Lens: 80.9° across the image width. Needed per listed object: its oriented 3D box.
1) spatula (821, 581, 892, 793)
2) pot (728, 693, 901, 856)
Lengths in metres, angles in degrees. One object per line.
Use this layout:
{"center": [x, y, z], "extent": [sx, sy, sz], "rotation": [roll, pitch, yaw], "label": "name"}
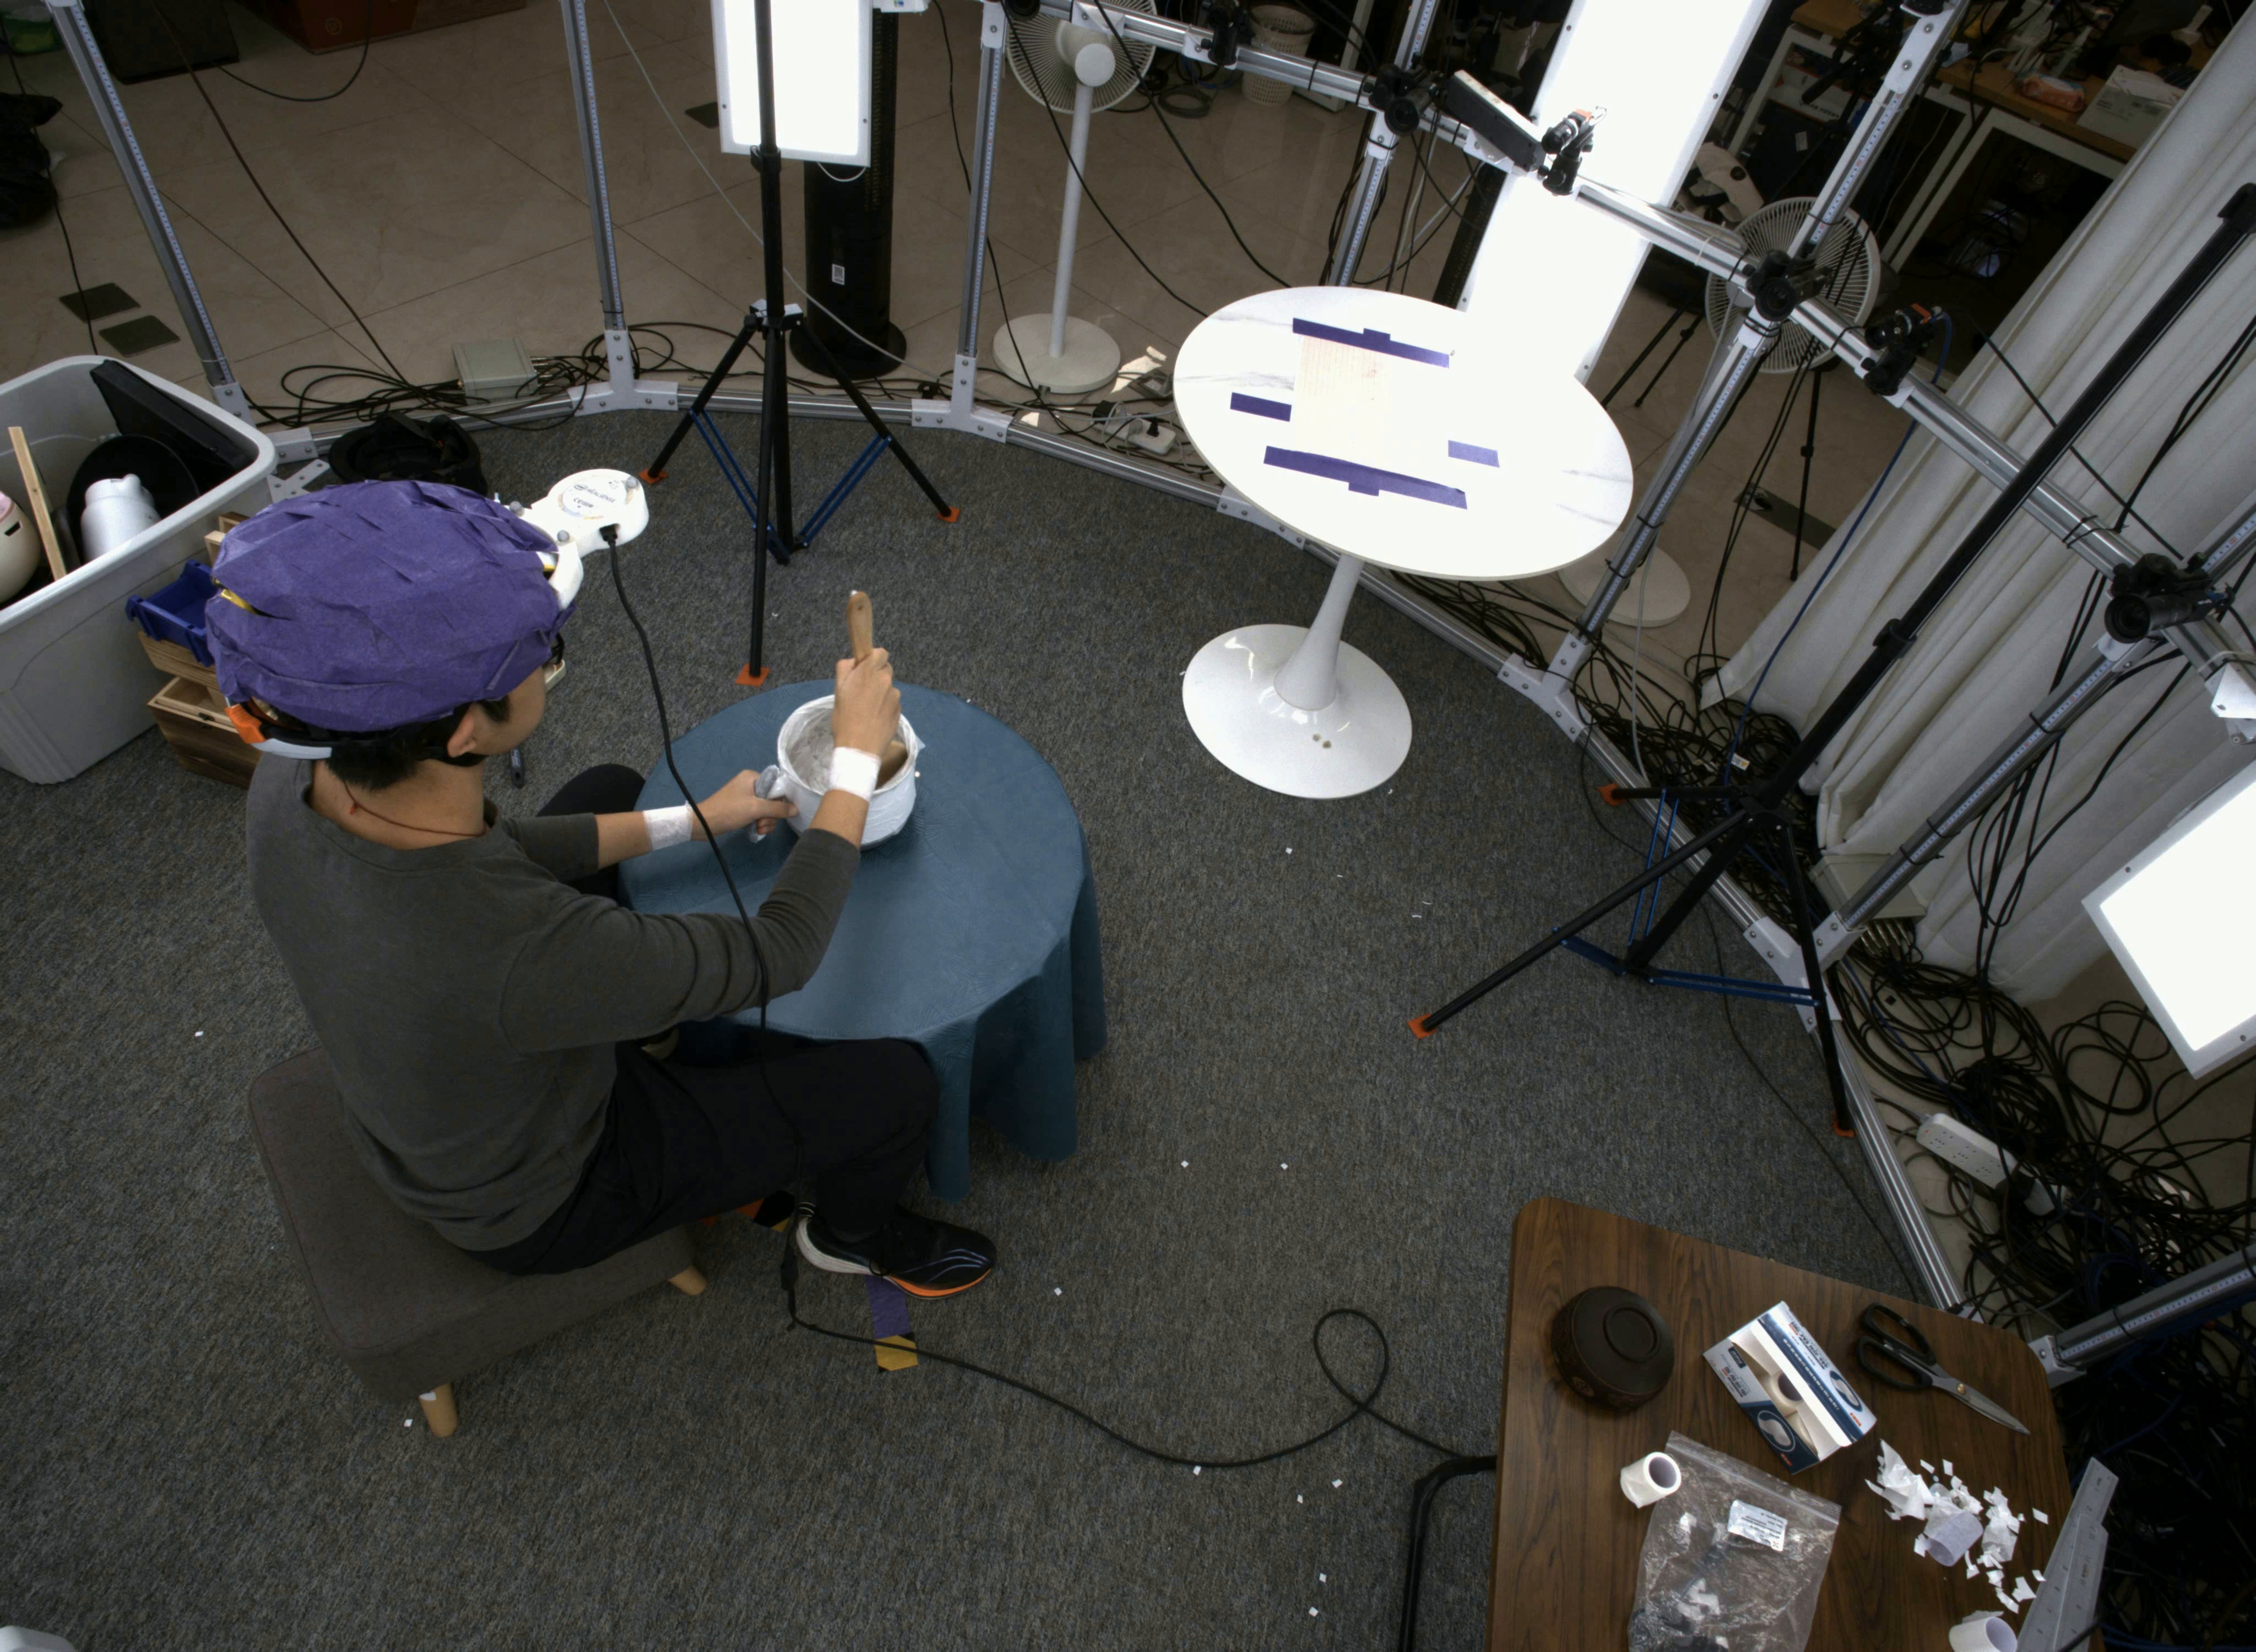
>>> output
{"center": [-0.330, -0.159, 1.551], "extent": [0.018, 0.399, 0.096], "rotation": [39, 63, 18], "label": "spatula"}
{"center": [-0.411, -0.054, 1.691], "extent": [0.235, 0.139, 0.174], "rotation": [-25, 62, -28], "label": "pot"}
